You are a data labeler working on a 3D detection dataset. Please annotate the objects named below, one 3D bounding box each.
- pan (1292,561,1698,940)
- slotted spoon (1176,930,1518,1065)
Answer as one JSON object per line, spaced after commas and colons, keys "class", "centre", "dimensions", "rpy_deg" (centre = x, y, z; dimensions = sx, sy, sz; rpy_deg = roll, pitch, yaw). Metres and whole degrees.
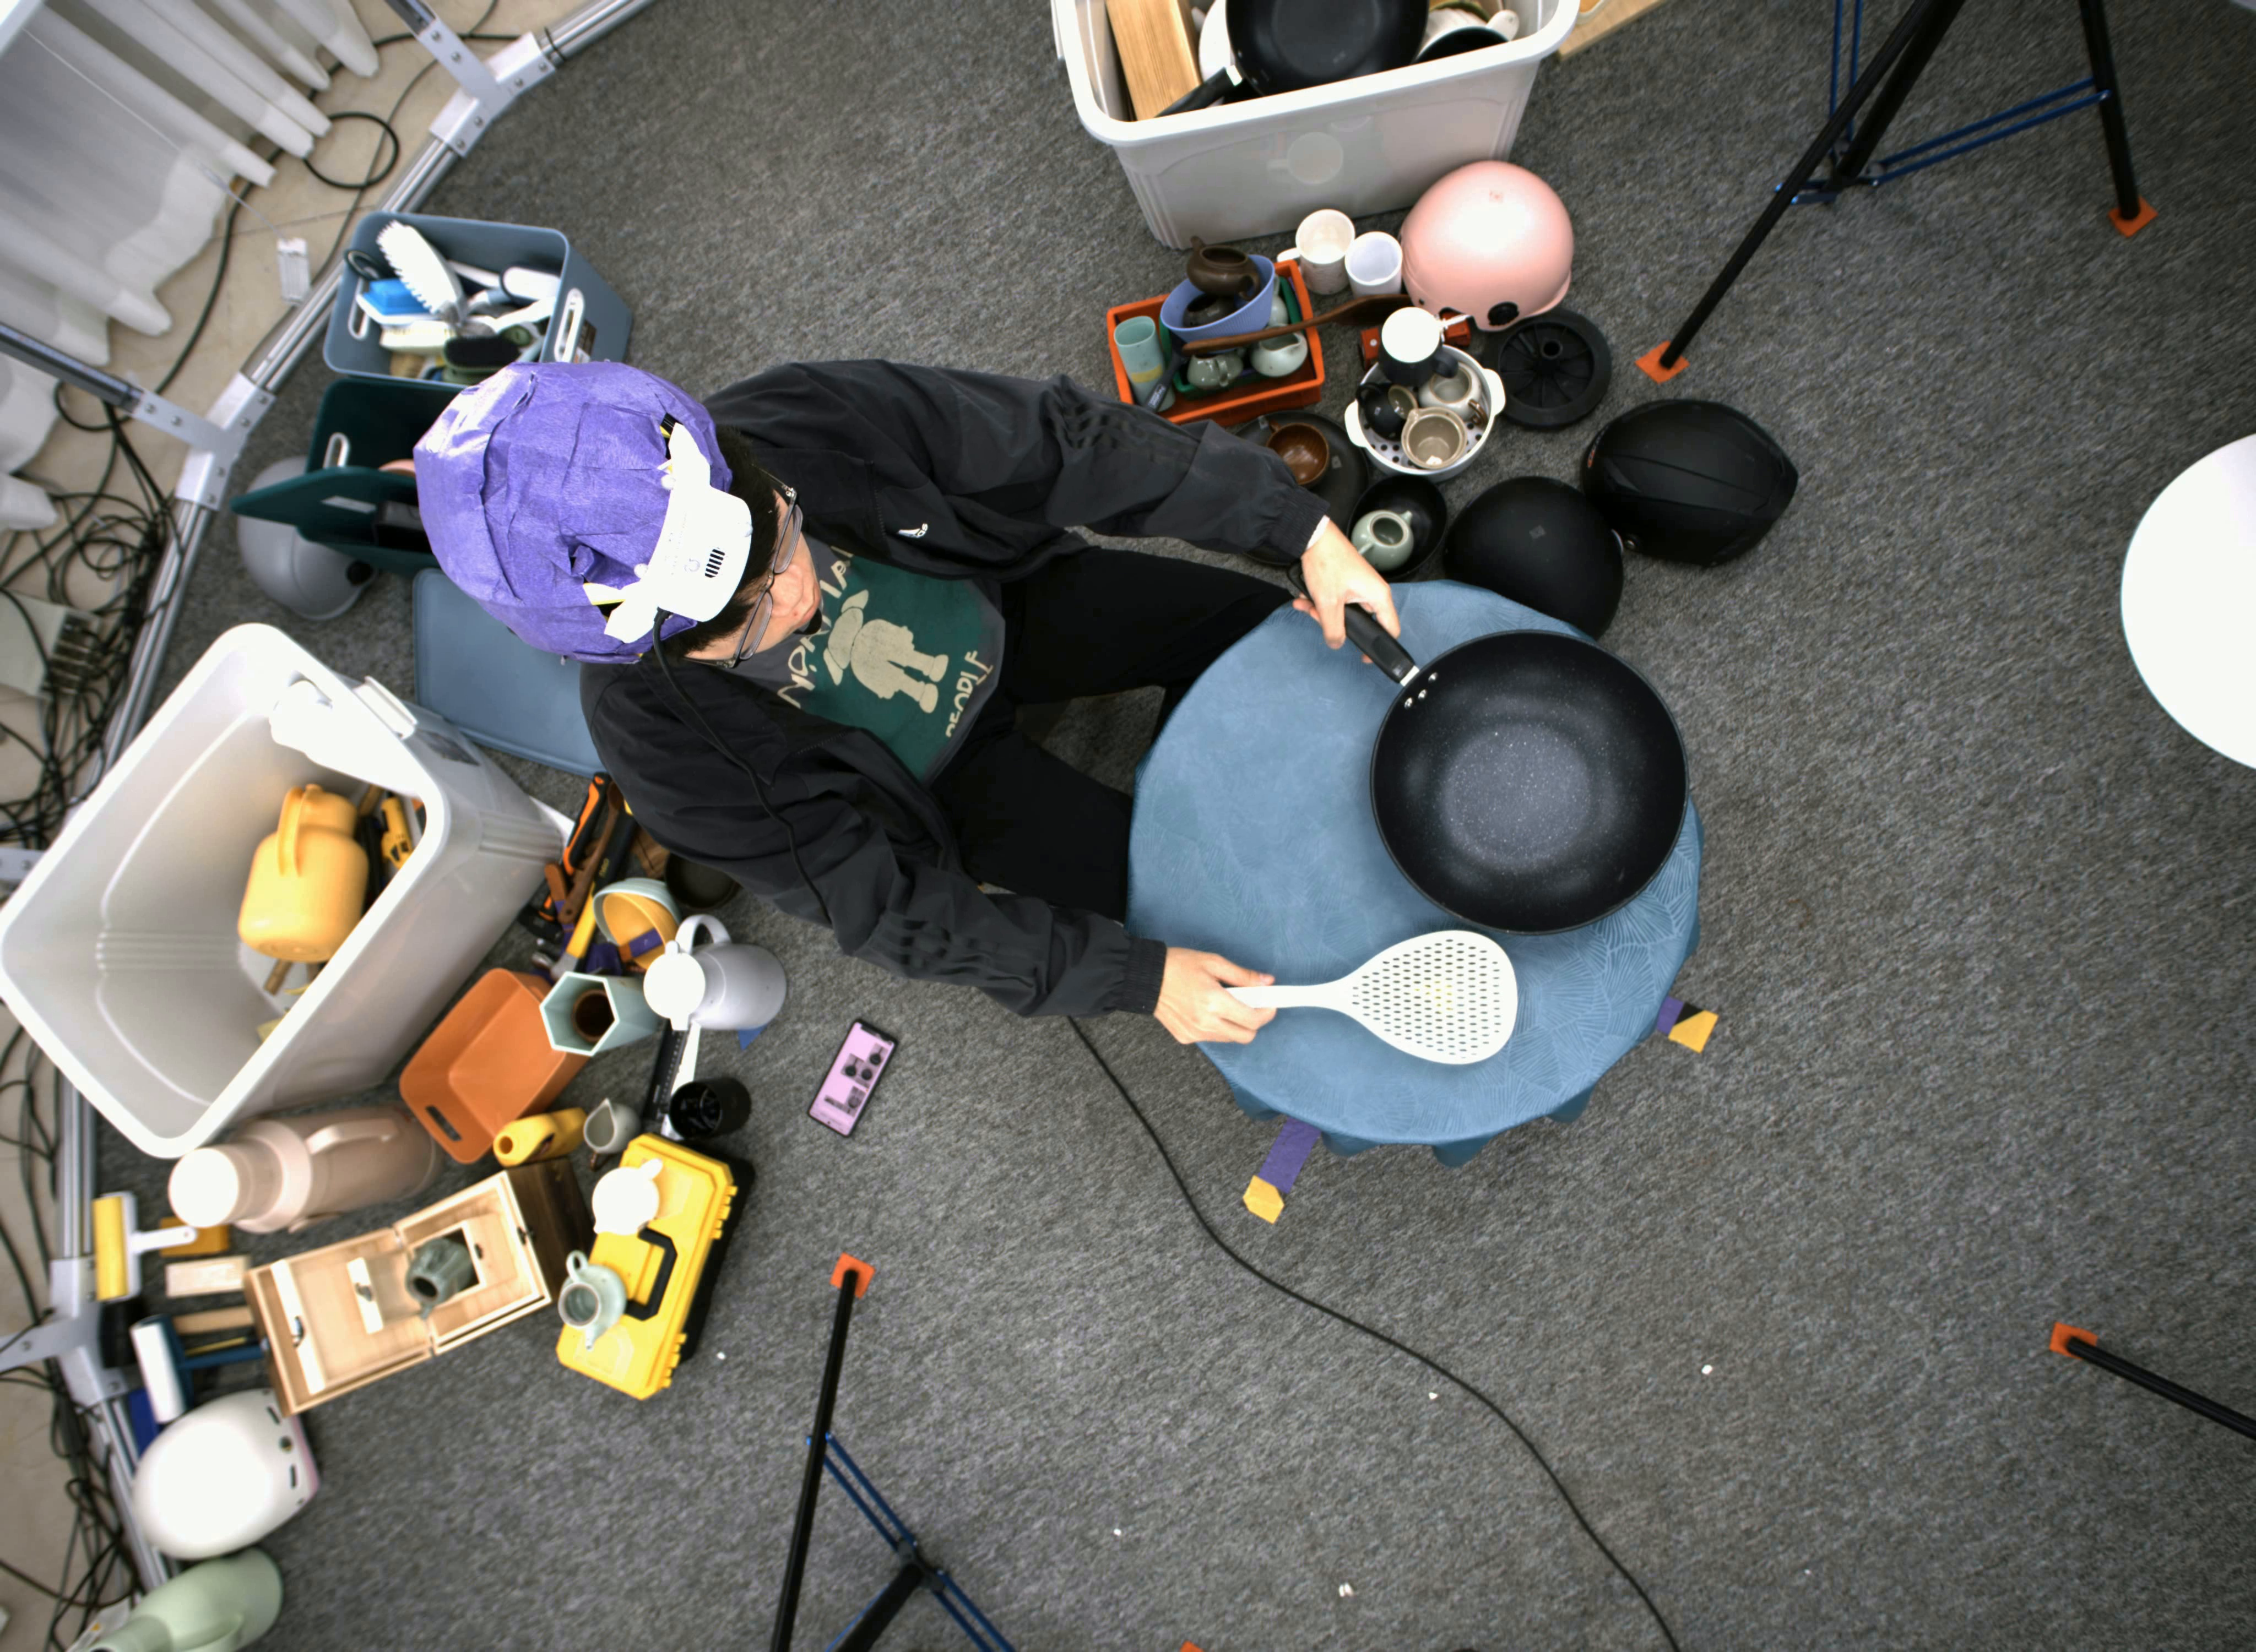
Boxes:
{"class": "pan", "centre": [0.348, -0.096, 1.399], "dimensions": [0.474, 0.112, 0.311], "rpy_deg": [44, 93, 11]}
{"class": "slotted spoon", "centre": [0.223, 0.176, 1.427], "dimensions": [0.349, 0.050, 0.136], "rpy_deg": [-1, 85, 5]}
